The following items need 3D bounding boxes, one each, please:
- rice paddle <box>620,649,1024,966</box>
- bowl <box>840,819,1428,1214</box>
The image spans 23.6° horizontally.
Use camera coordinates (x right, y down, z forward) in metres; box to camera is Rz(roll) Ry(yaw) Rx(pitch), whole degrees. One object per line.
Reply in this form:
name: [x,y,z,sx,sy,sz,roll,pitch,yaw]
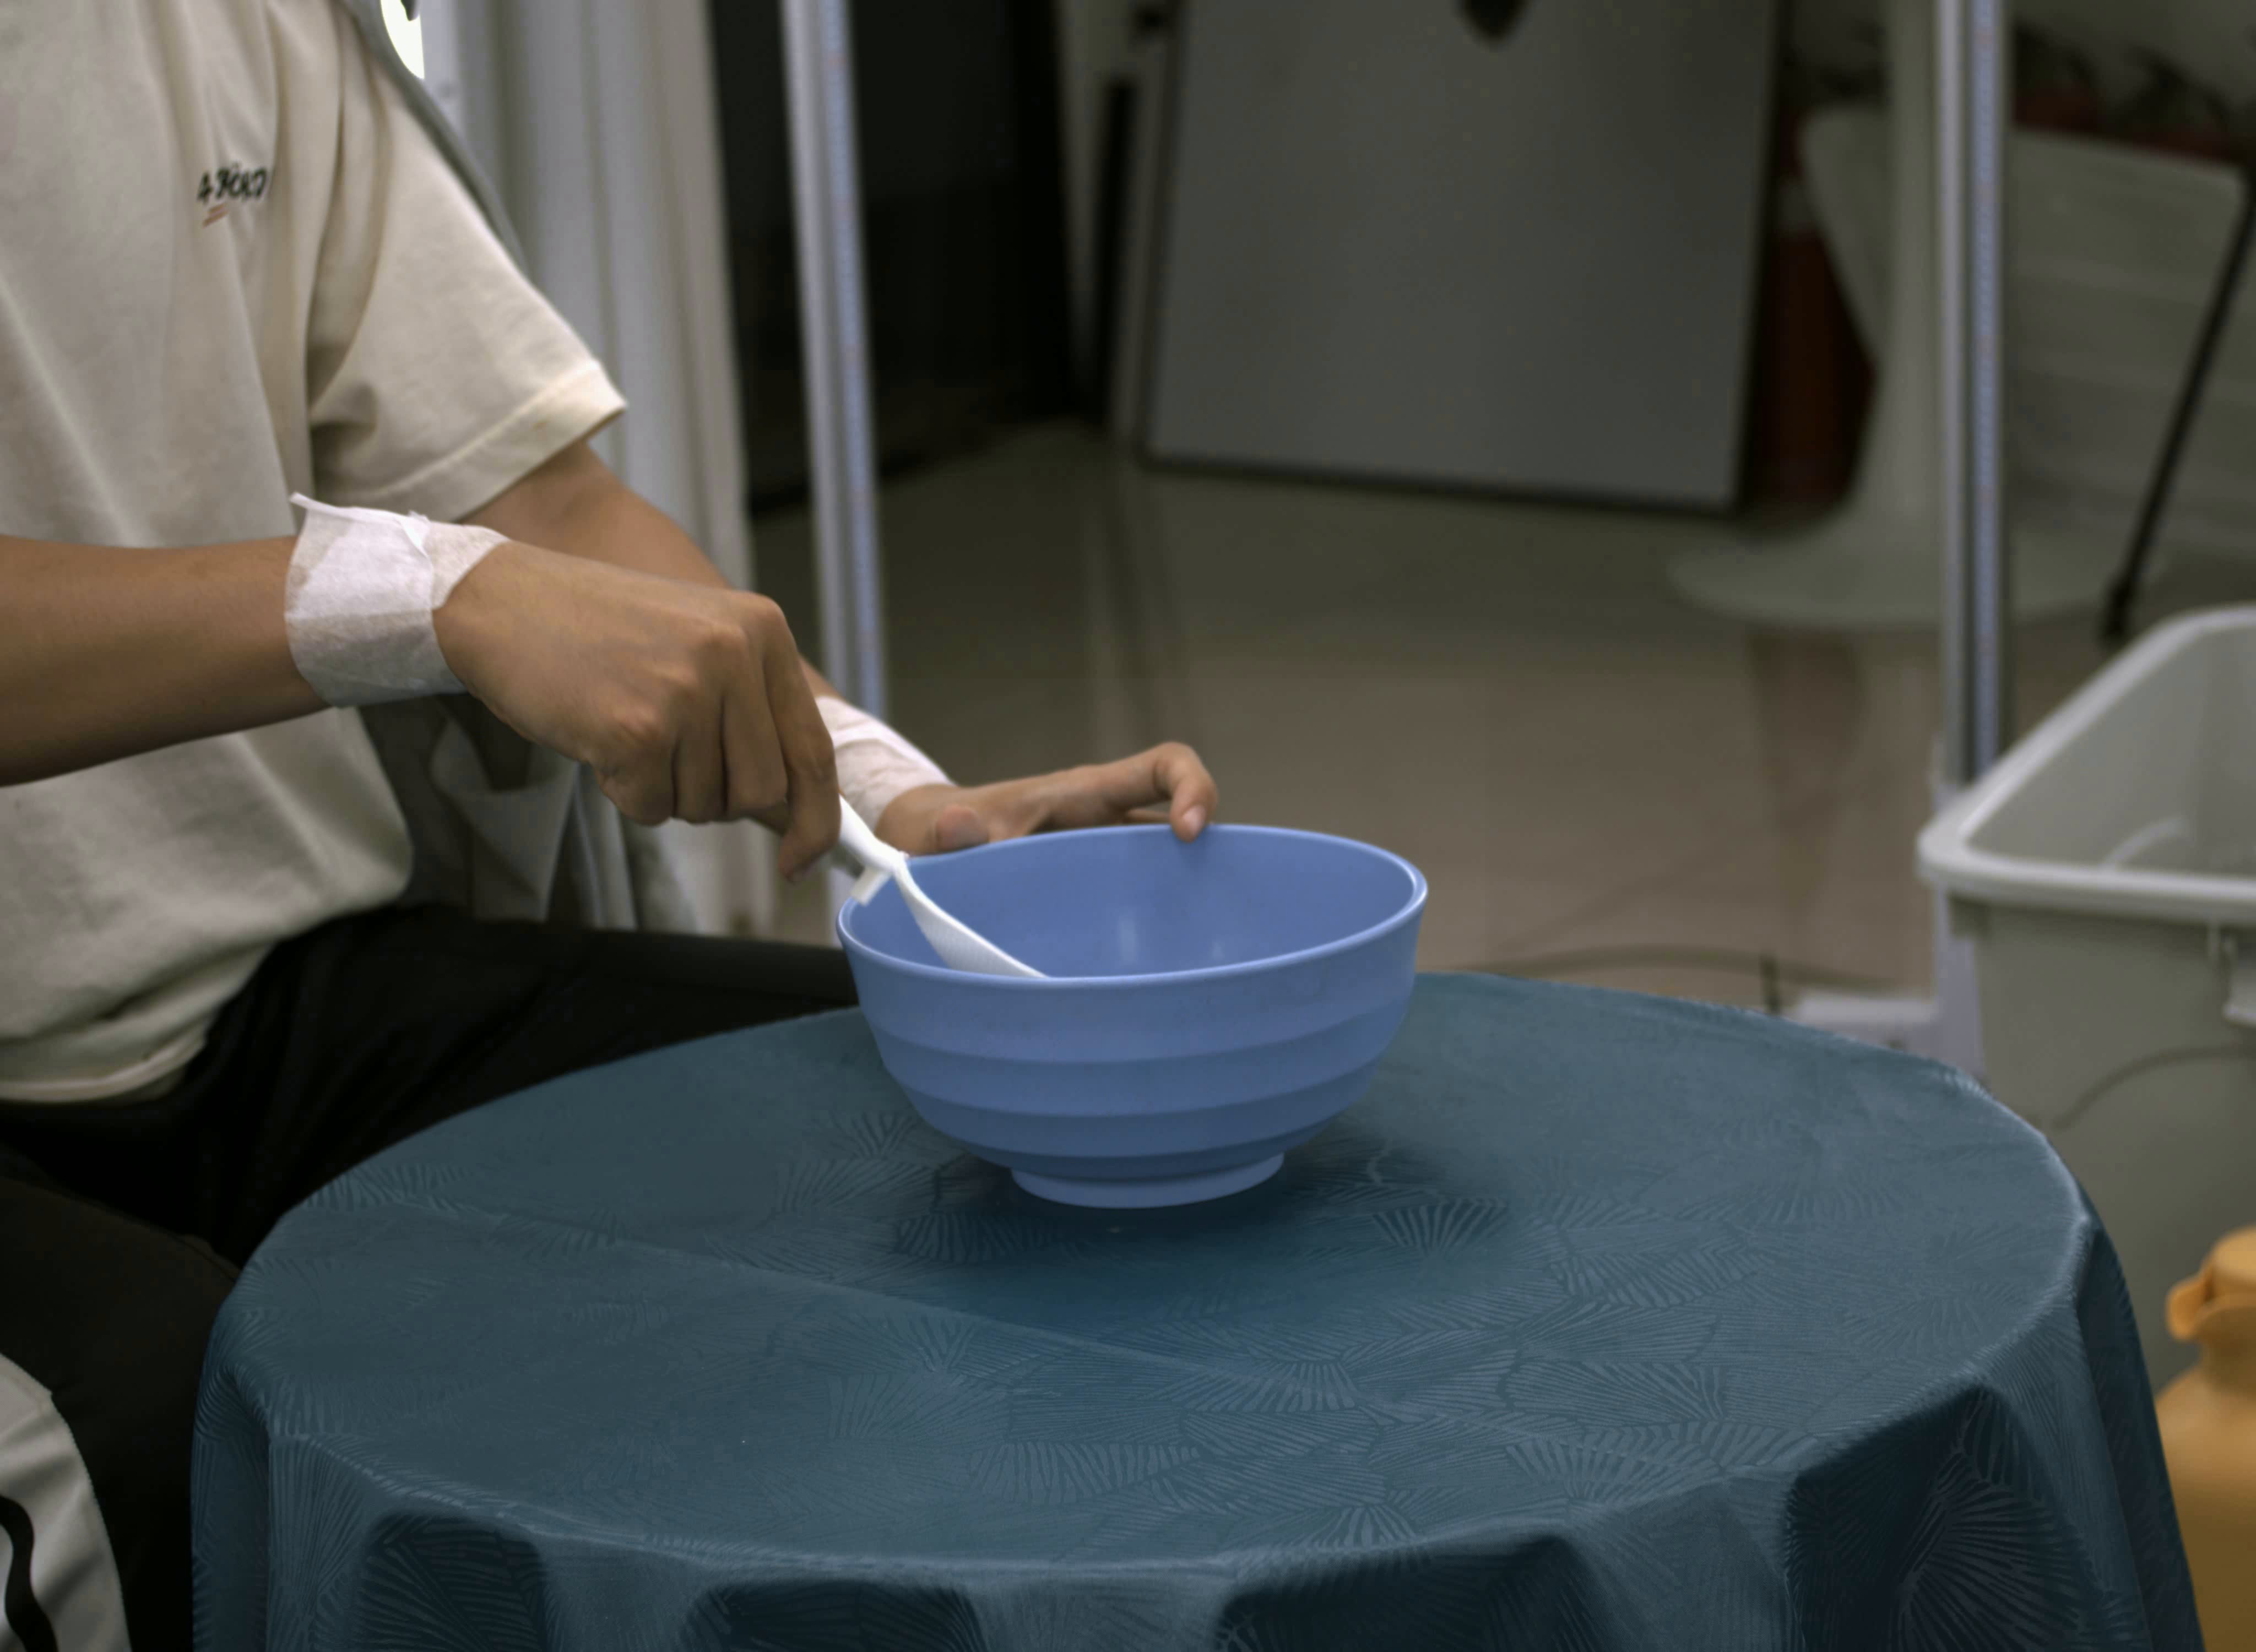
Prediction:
rice paddle: [-0.077,0.013,1.744,0.203,0.029,0.069,38,-3,-22]
bowl: [0.004,0.069,1.786,0.194,0.096,0.197,-4,15,0]
